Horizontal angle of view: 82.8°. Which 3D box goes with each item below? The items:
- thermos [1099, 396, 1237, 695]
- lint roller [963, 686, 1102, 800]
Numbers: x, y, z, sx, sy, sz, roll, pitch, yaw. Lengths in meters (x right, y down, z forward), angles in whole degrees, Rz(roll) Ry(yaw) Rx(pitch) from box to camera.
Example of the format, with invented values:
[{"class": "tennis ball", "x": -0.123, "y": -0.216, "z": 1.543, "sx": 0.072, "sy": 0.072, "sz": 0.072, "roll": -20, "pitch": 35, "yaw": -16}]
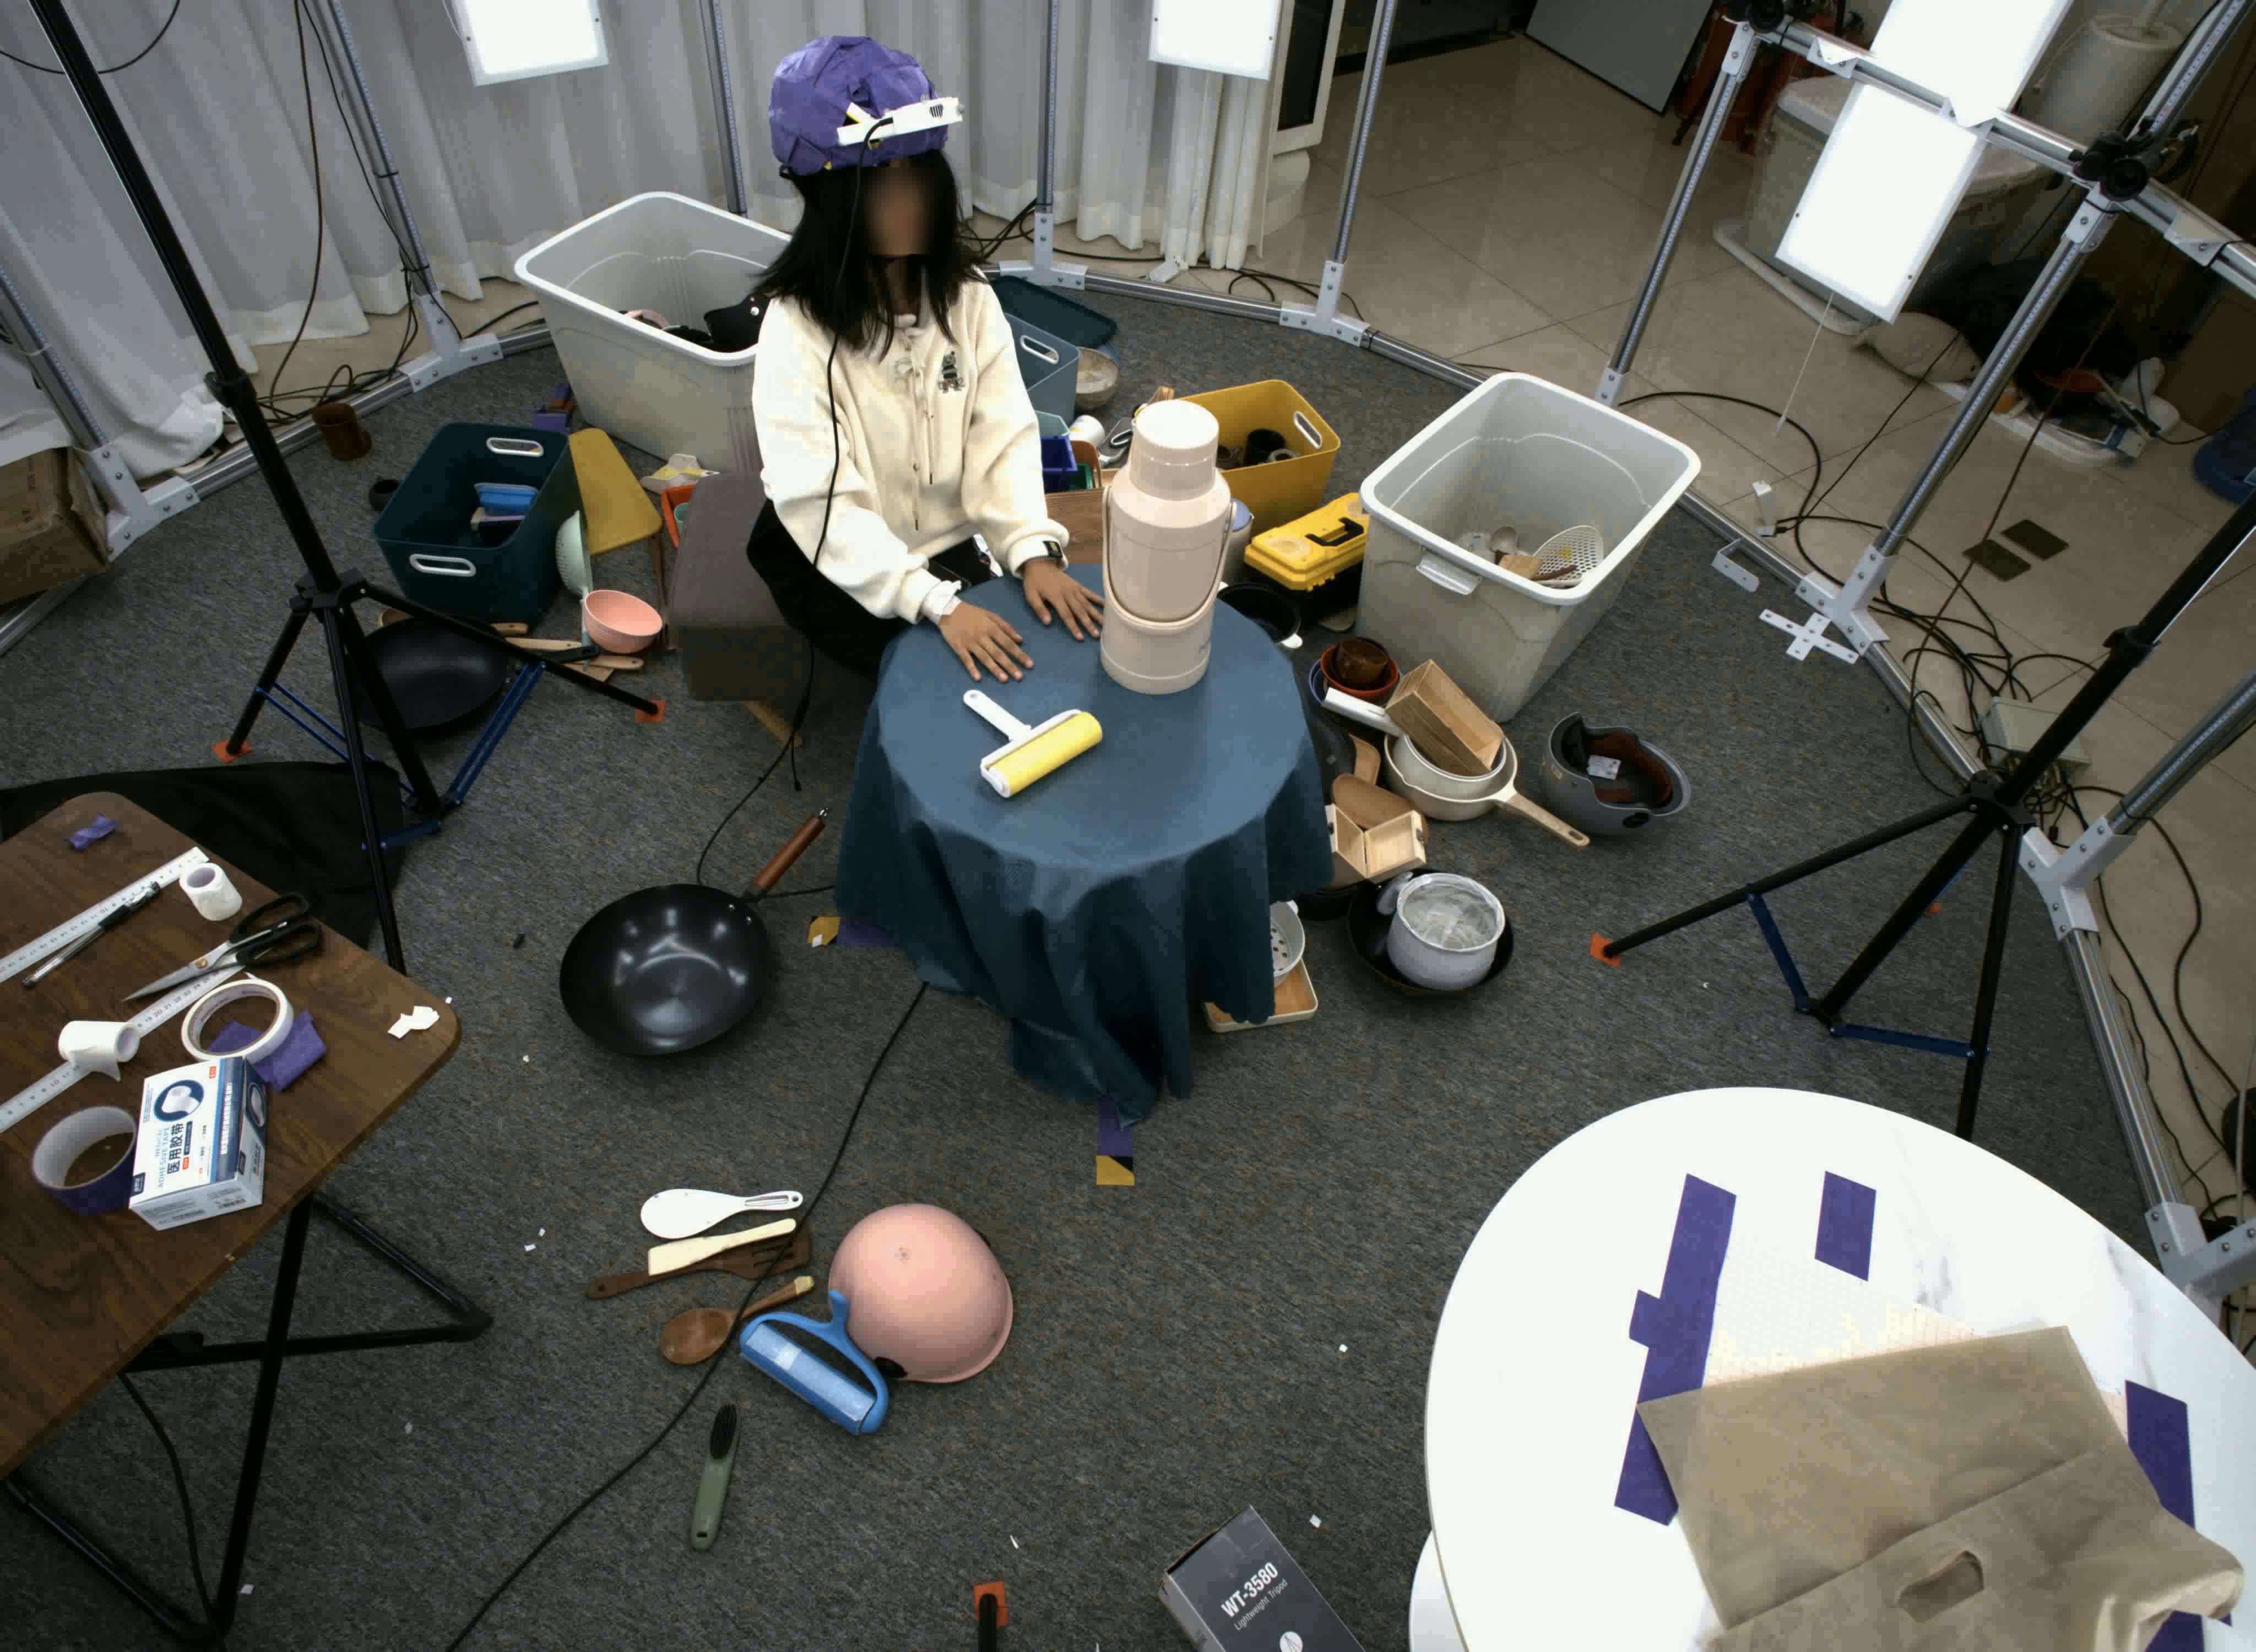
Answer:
[{"class": "thermos", "x": 0.053, "y": -0.383, "z": 1.751, "sx": 0.175, "sy": 0.396, "sz": 0.212, "roll": 8, "pitch": 49, "yaw": 3}, {"class": "lint roller", "x": -0.158, "y": -0.139, "z": 1.745, "sx": 0.175, "sy": 0.050, "sz": 0.195, "roll": -34, "pitch": 66, "yaw": -29}]
